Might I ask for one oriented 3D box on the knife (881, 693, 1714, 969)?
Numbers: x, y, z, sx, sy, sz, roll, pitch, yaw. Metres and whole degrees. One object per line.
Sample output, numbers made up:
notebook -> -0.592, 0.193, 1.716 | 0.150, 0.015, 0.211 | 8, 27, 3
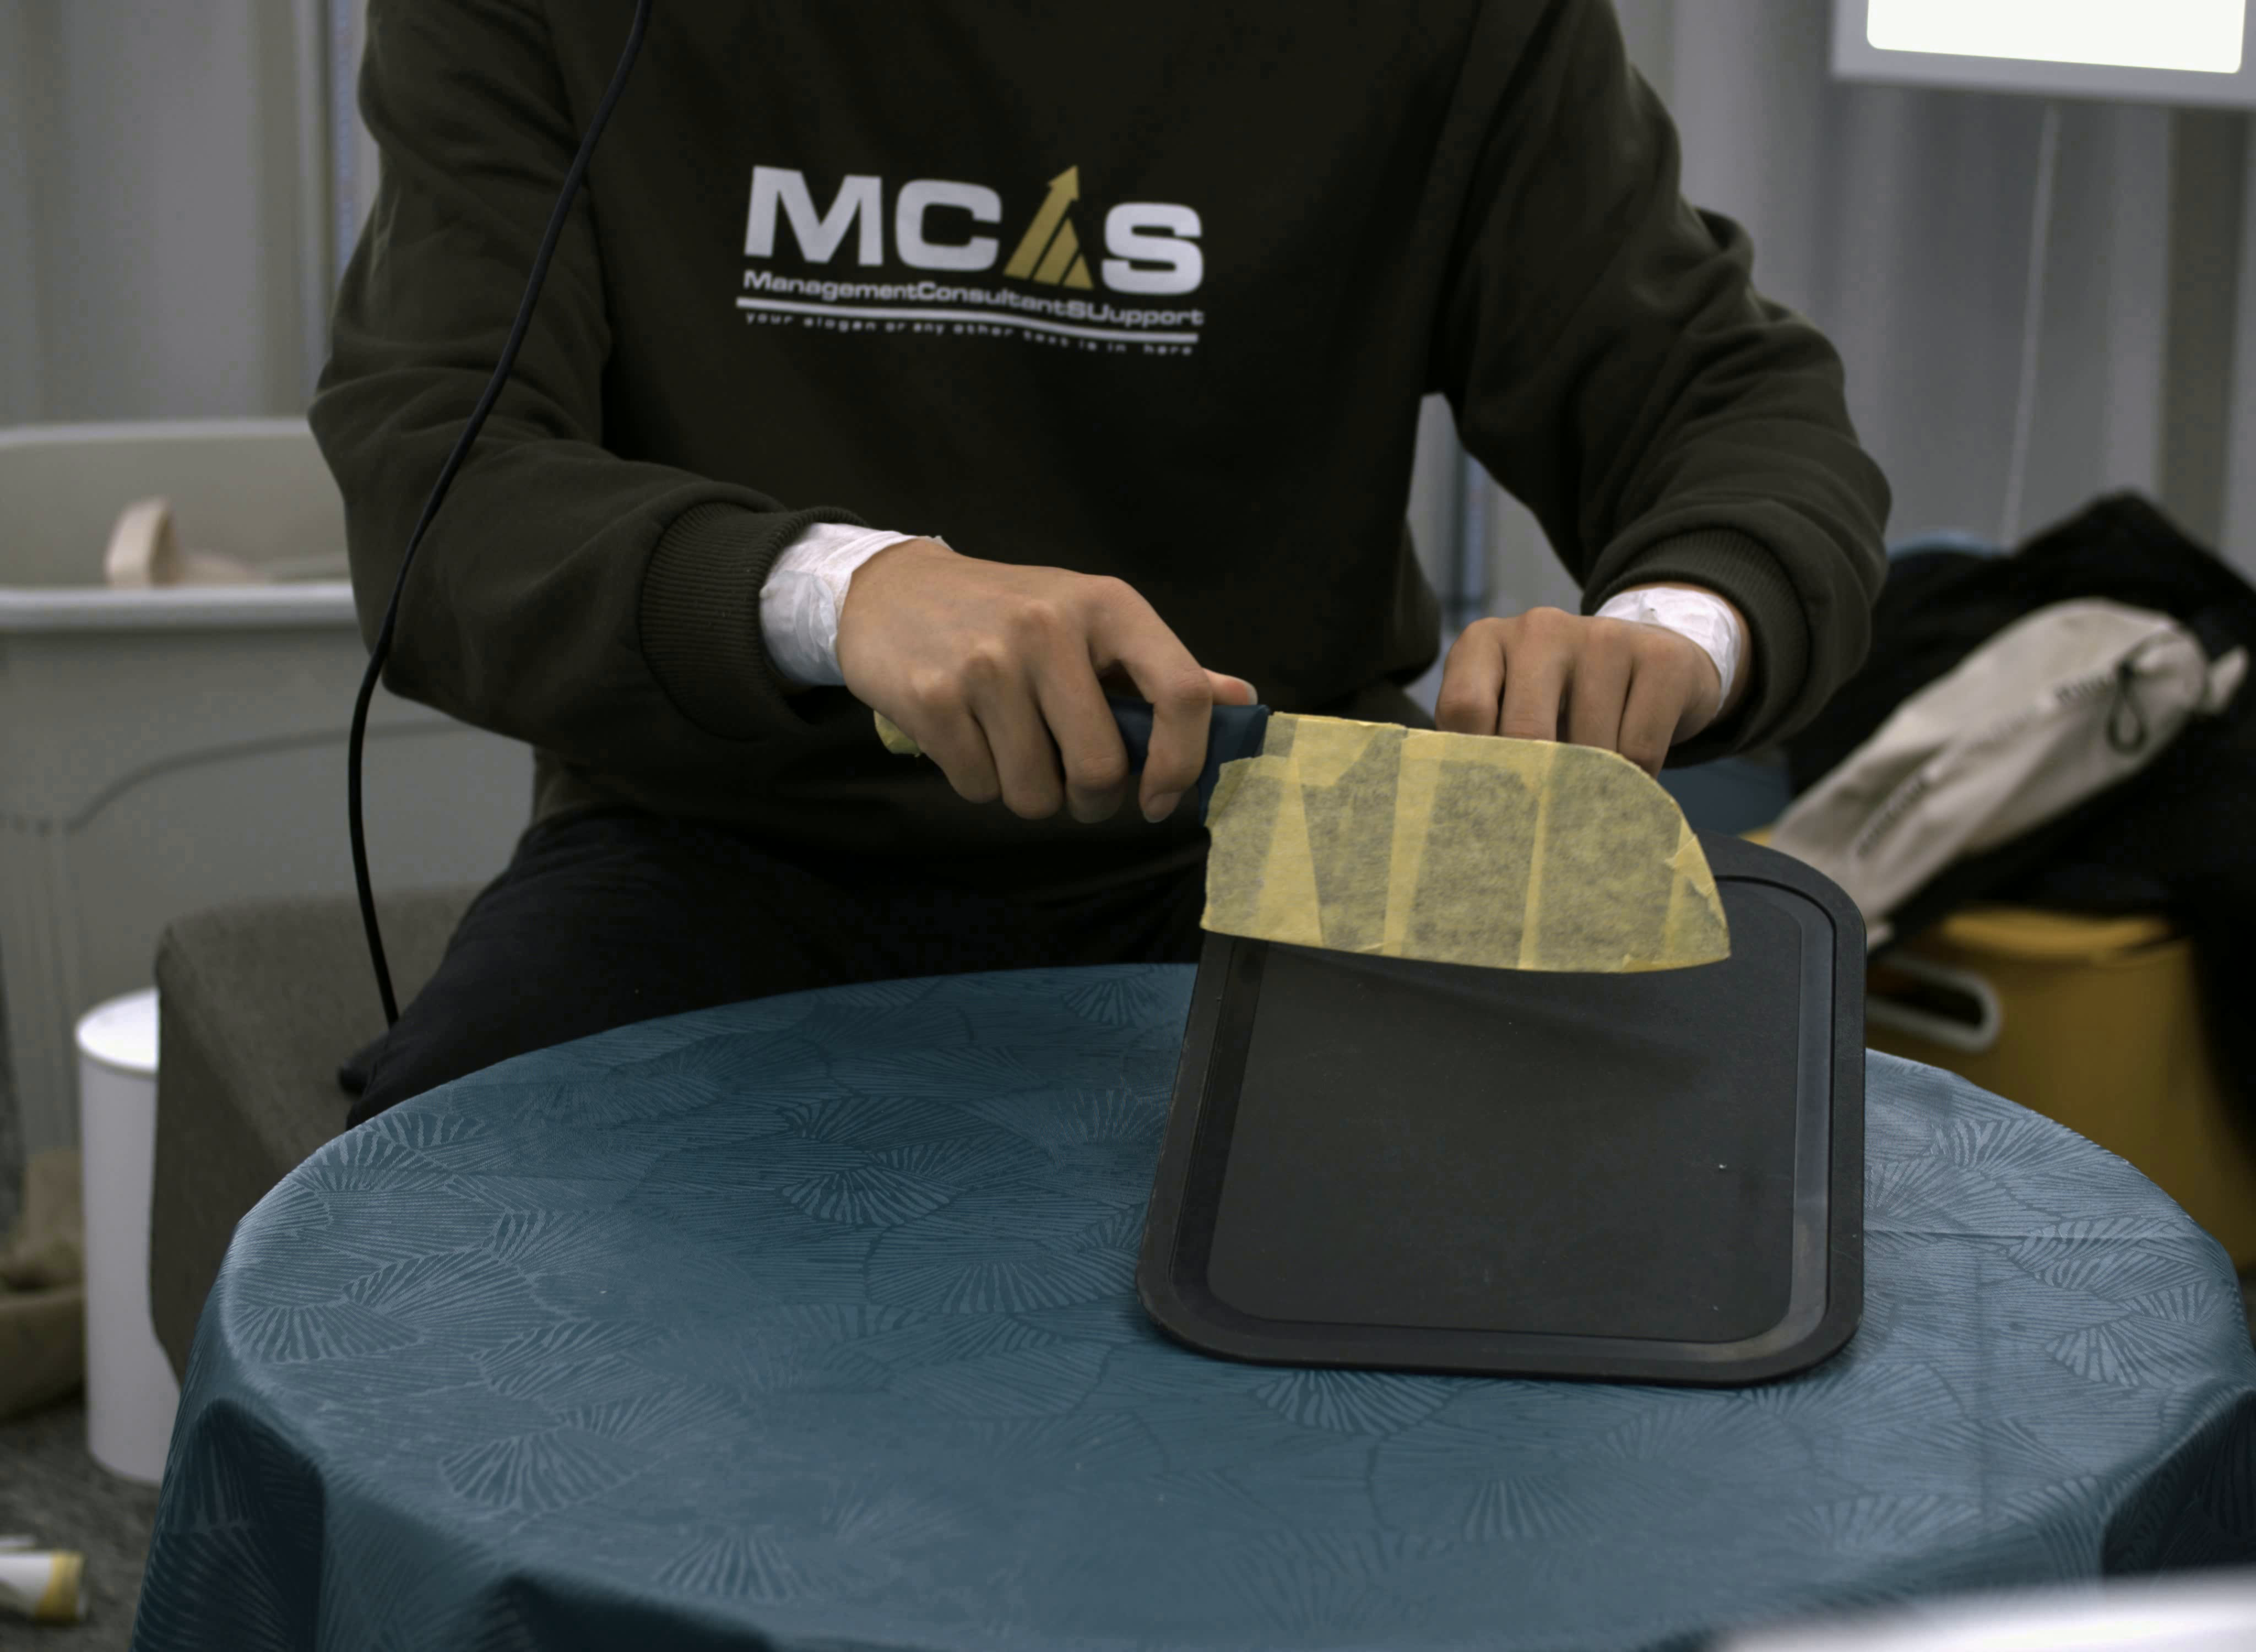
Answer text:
knife -> 0.050, 0.000, 1.673 | 0.286, 0.081, 0.027 | 10, -3, 22

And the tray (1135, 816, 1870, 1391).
tray -> 0.120, 0.072, 1.611 | 0.210, 0.010, 0.323 | 4, 30, 6
